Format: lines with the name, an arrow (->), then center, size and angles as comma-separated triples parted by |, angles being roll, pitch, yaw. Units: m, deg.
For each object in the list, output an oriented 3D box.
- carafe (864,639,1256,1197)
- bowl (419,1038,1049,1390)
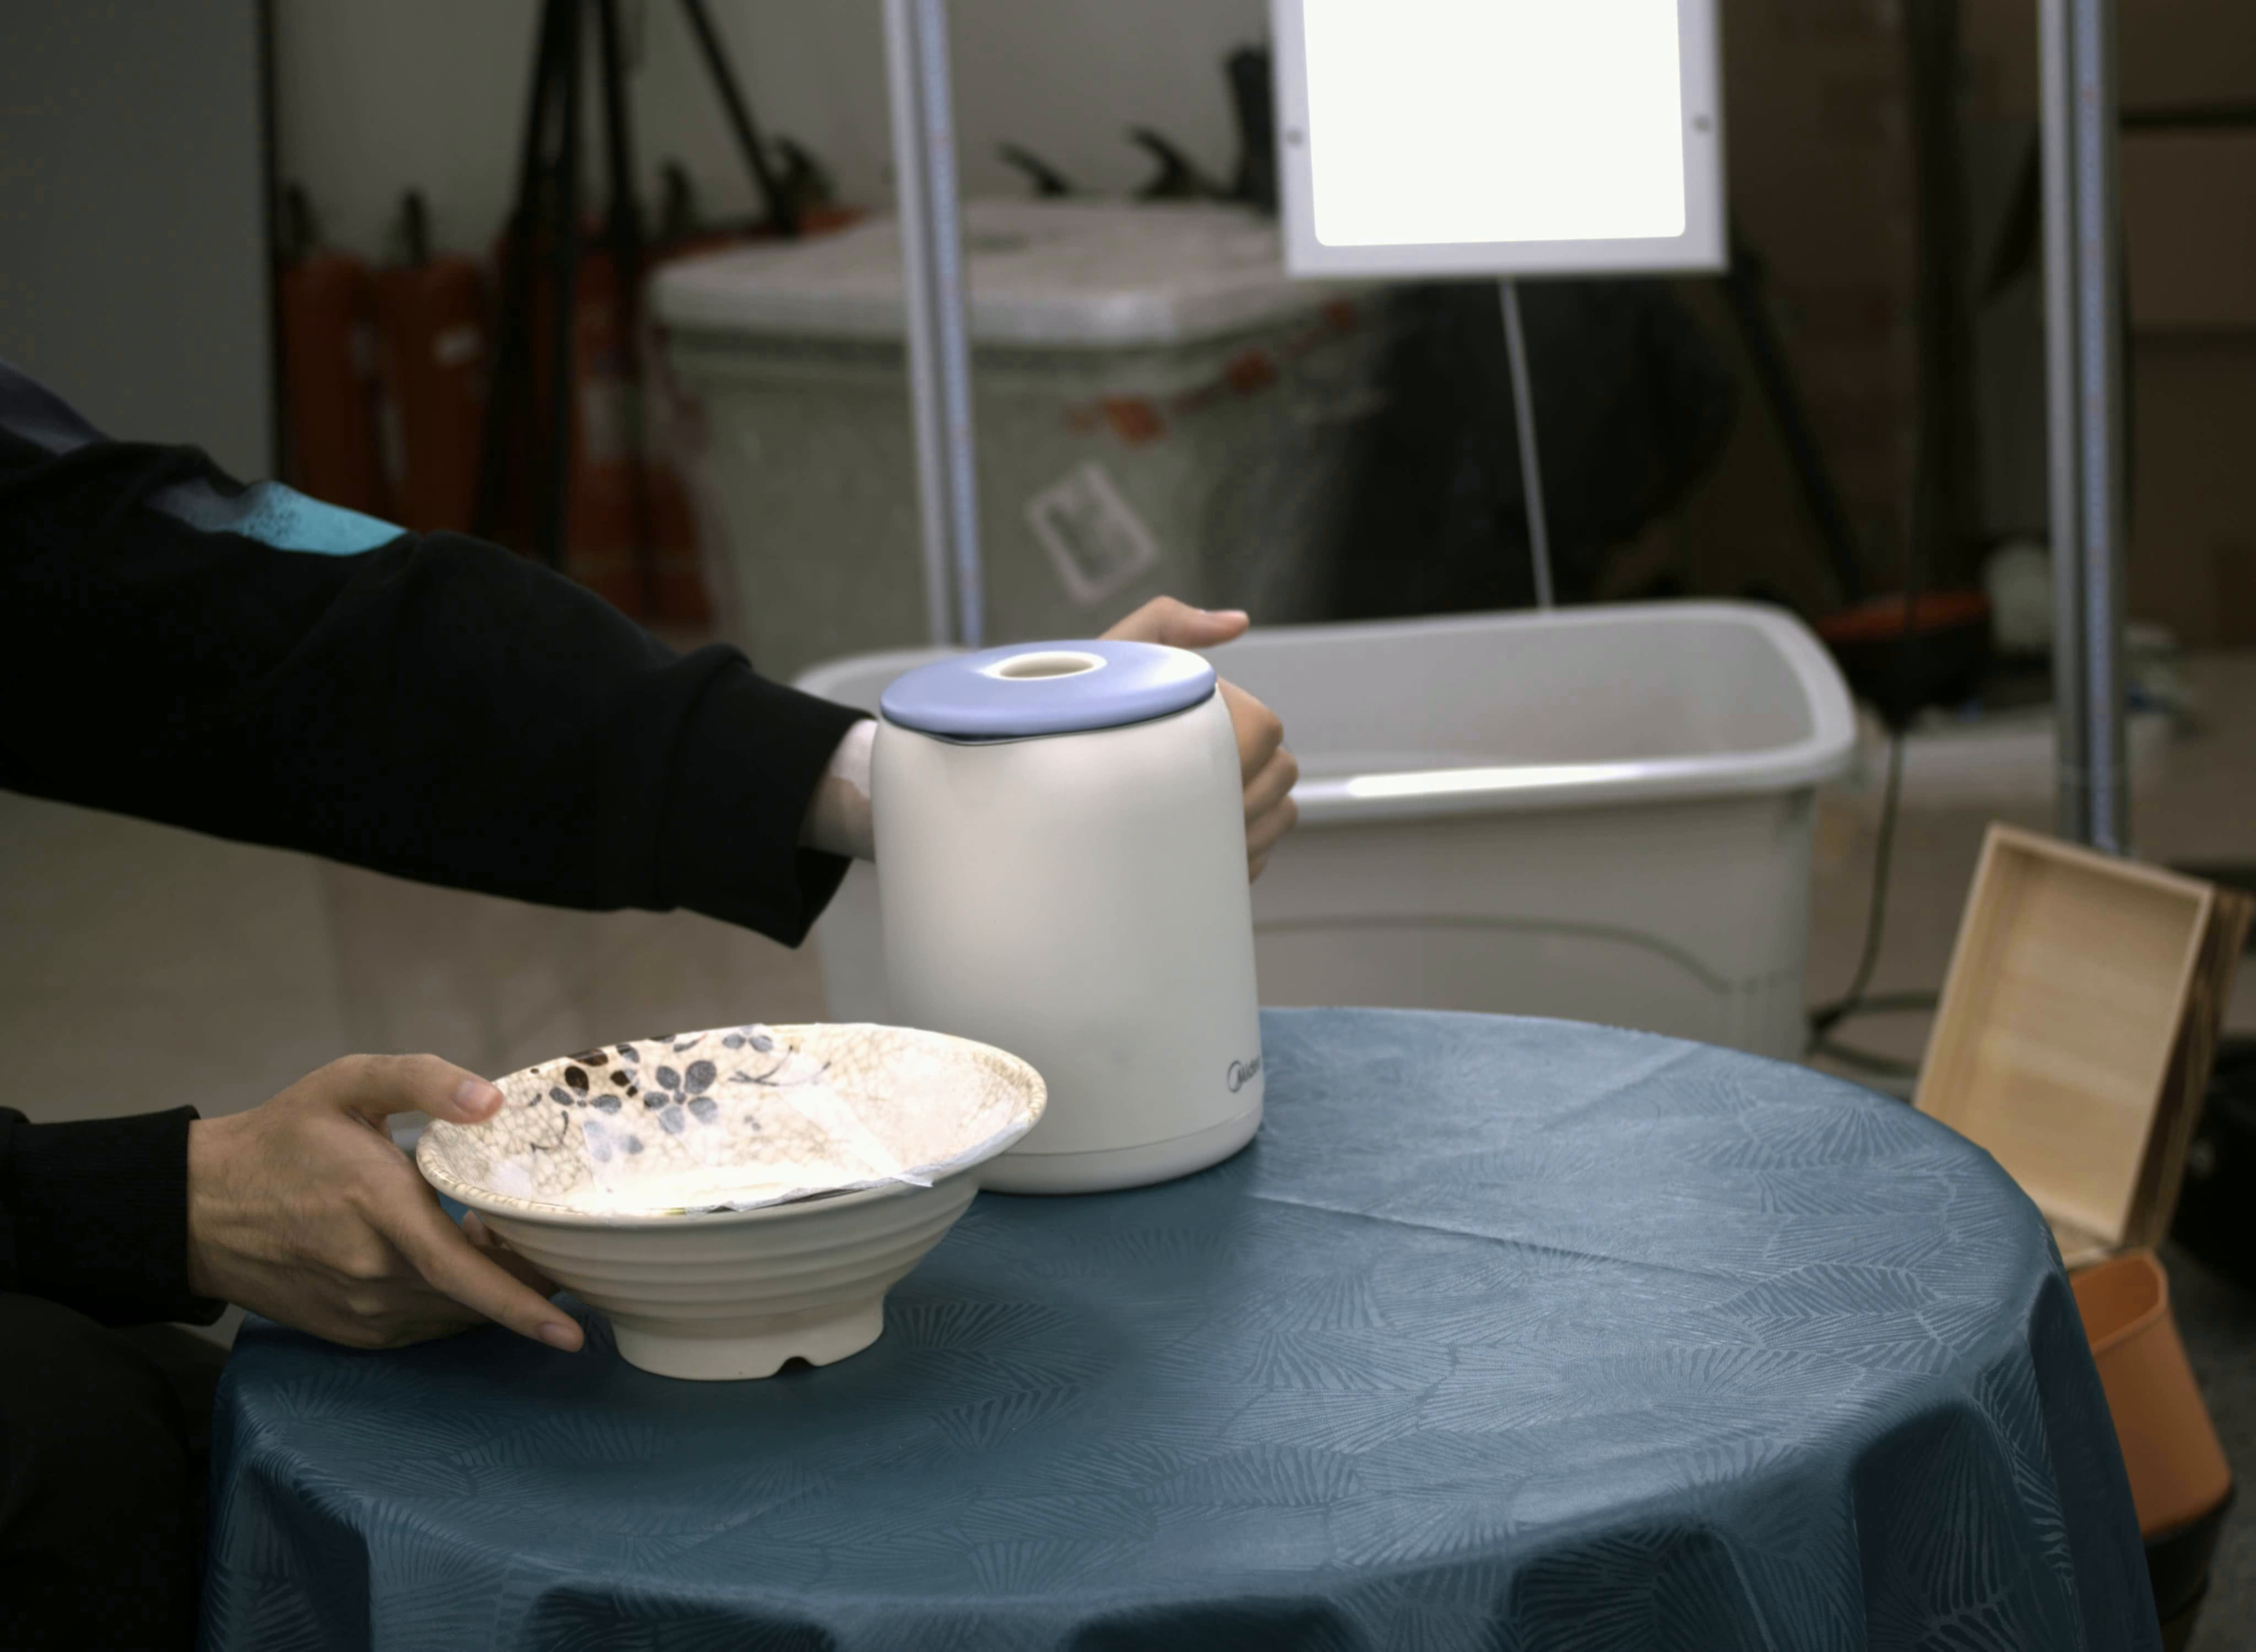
carafe -> -0.015, 0.026, 1.953 | 0.134, 0.183, 0.187 | 3, 13, 23
bowl -> -0.122, 0.131, 1.770 | 0.203, 0.078, 0.204 | -8, 12, 0
